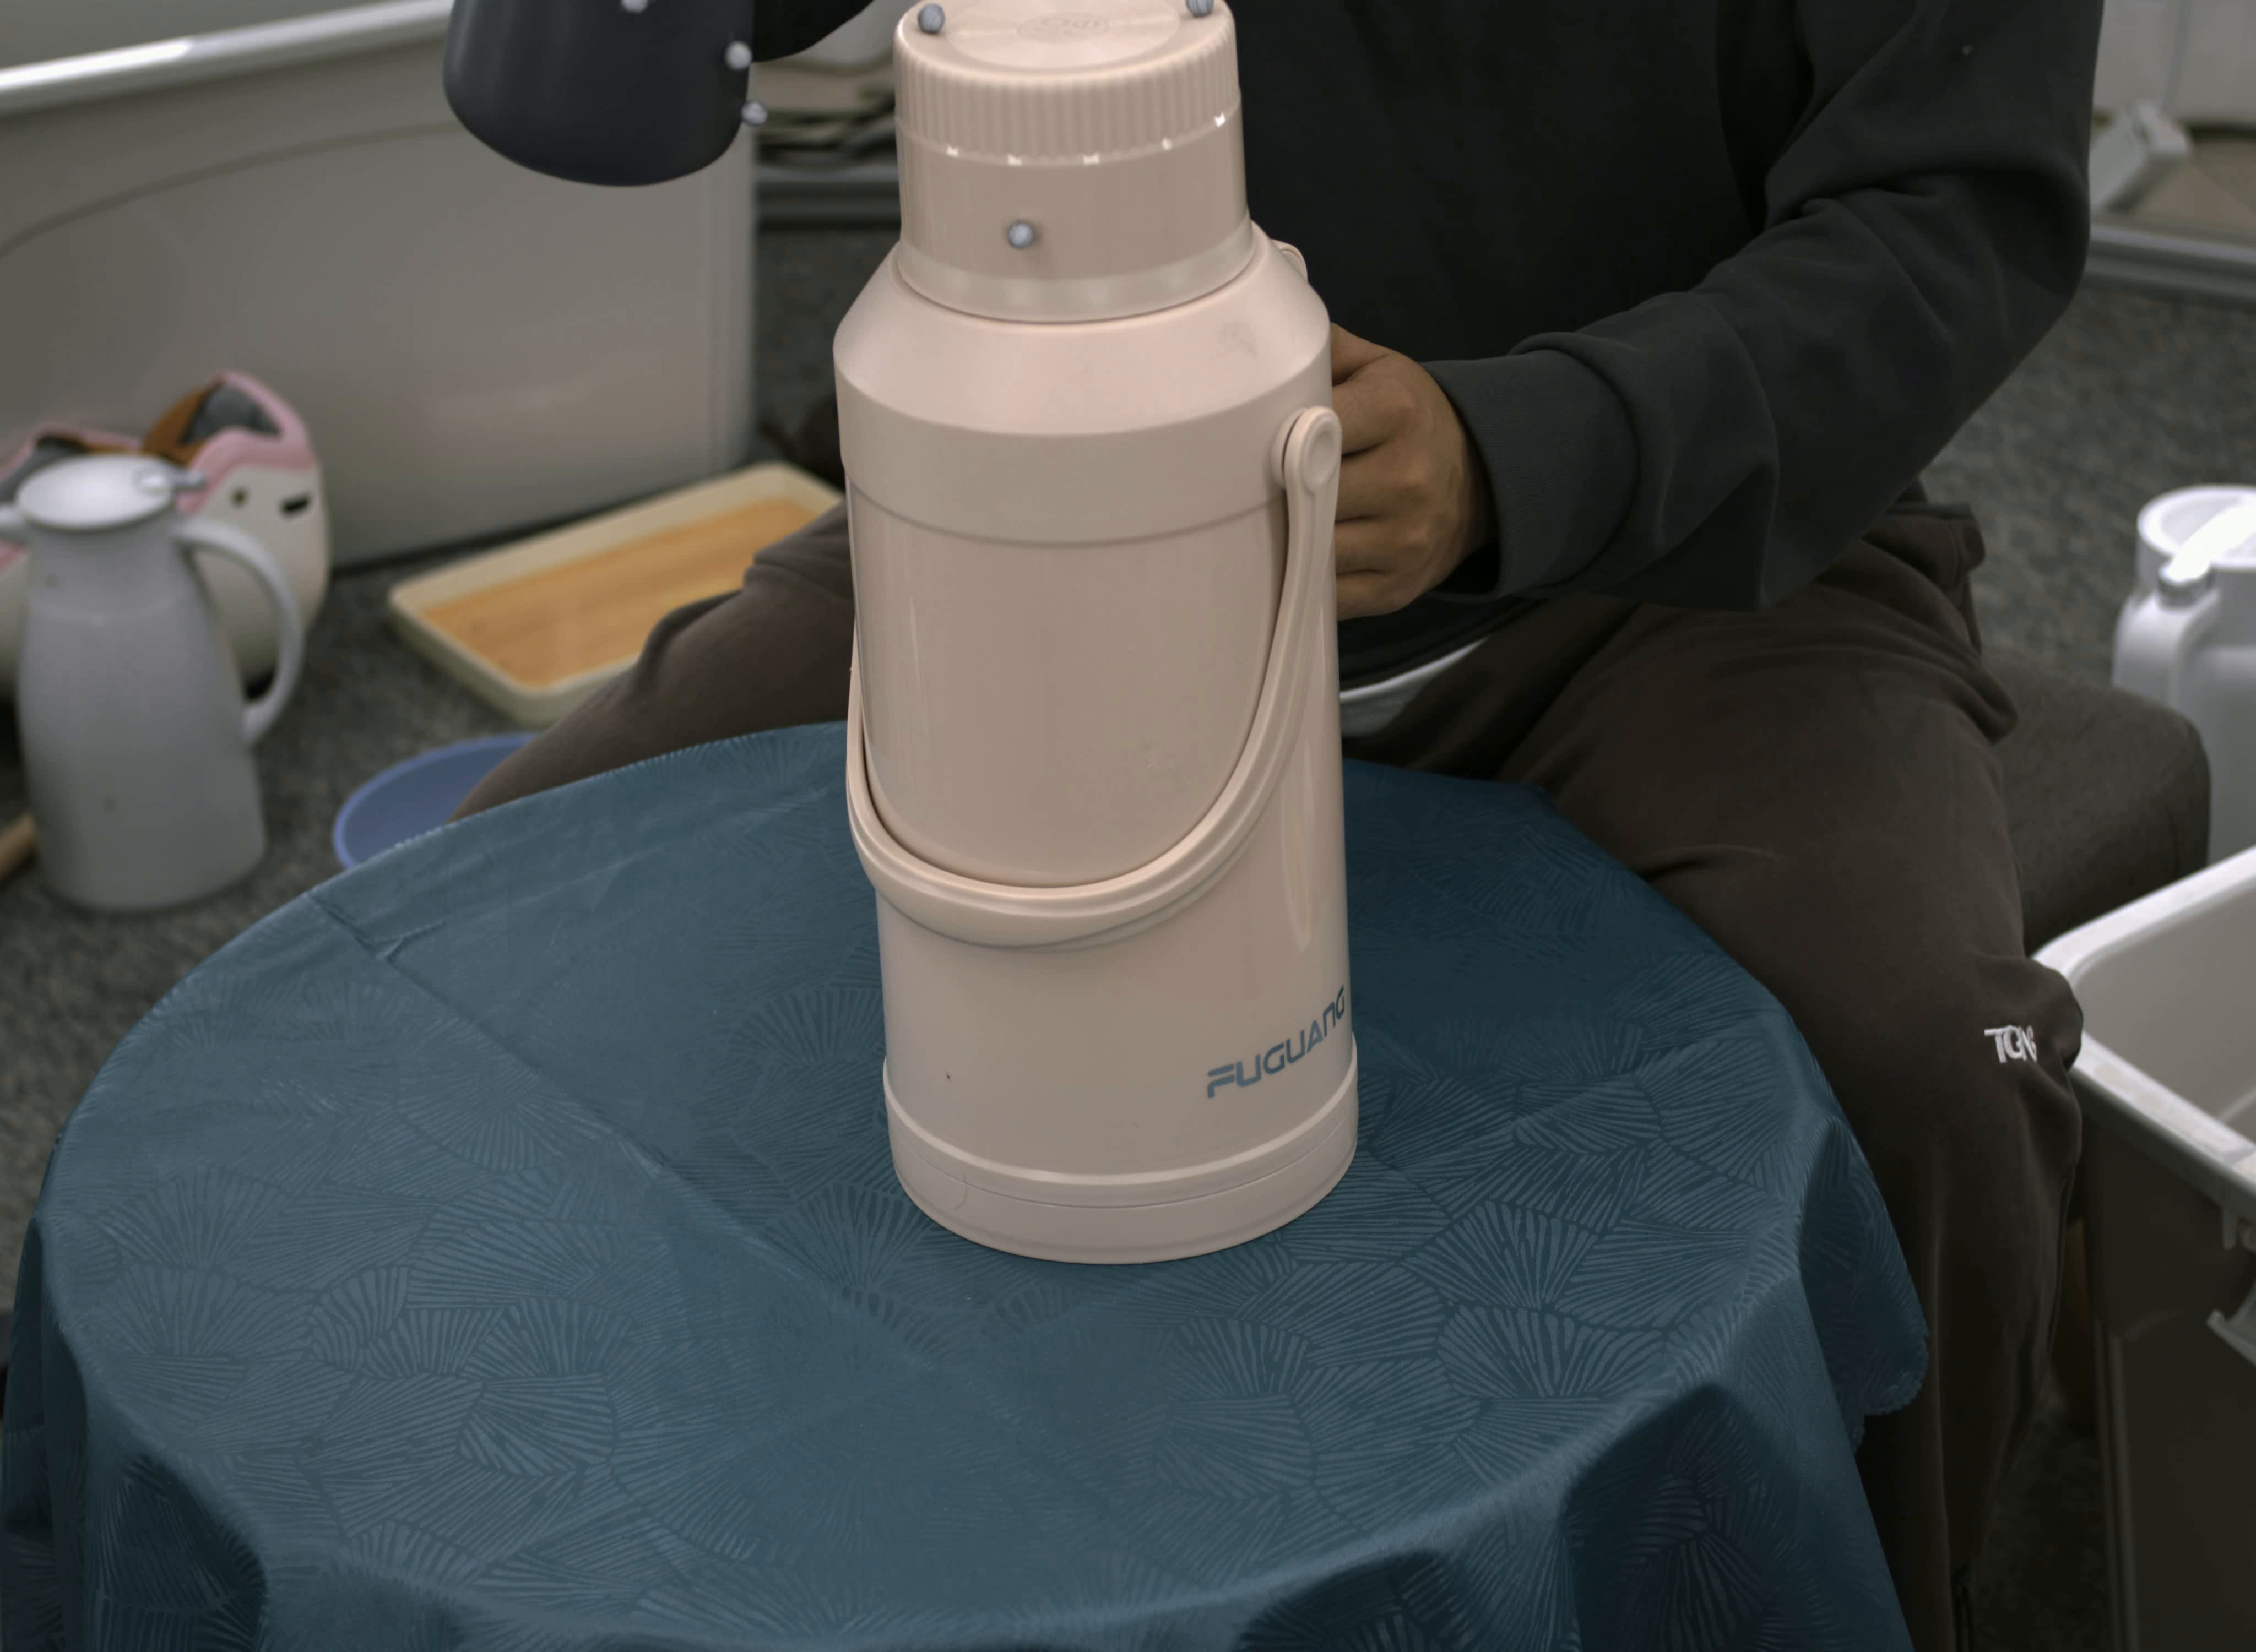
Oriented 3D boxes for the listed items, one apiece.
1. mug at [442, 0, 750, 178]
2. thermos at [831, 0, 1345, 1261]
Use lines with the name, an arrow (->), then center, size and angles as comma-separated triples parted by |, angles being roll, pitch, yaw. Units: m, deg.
mug -> -0.162, -0.262, 1.739 | 0.093, 0.088, 0.125 | 4, 32, -14
thermos -> -0.004, -0.075, 1.820 | 0.174, 0.402, 0.210 | 13, 31, 30
